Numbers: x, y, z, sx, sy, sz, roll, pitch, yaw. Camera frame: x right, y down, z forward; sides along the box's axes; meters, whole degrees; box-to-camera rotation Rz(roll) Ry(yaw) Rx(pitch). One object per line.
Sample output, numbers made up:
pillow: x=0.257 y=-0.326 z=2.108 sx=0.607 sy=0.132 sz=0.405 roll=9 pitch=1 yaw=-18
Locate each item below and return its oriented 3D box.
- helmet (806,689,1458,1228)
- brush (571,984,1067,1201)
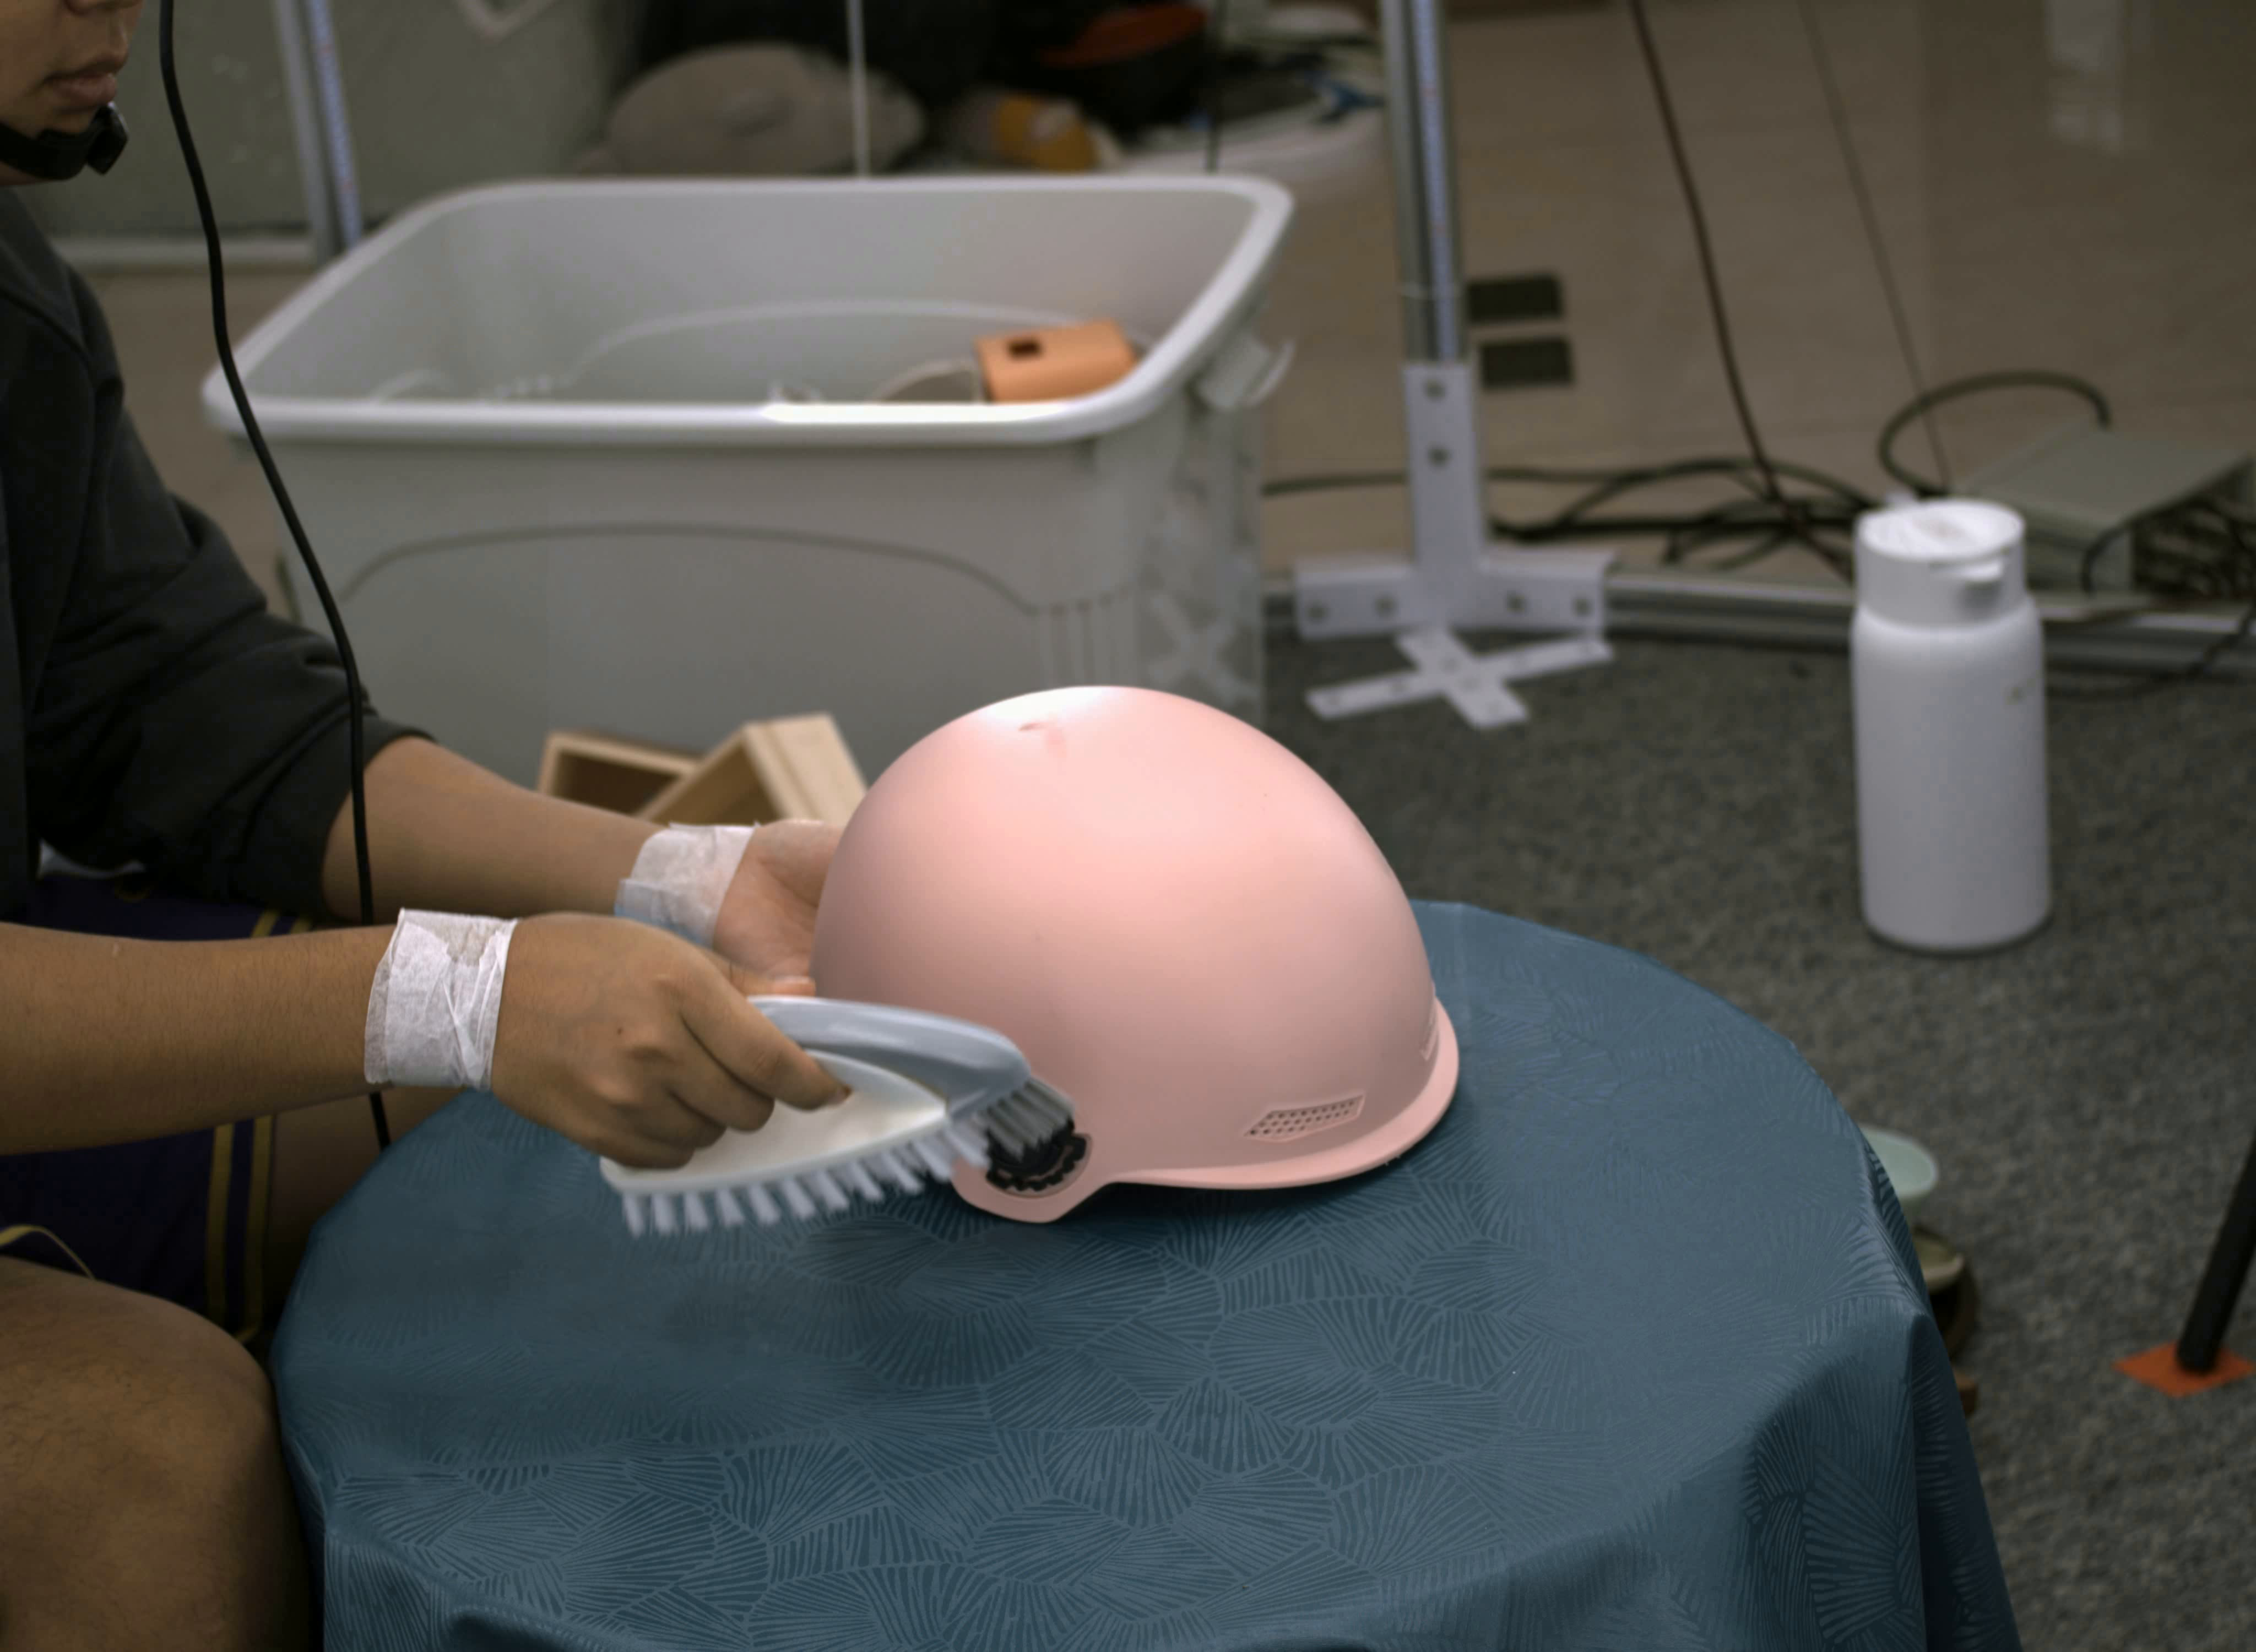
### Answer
helmet: x=-0.001 y=0.036 z=2.187 sx=0.264 sy=0.161 sz=0.231 roll=16 pitch=32 yaw=30
brush: x=-0.117 y=0.085 z=2.044 sx=0.175 sy=0.096 sz=0.060 roll=-5 pitch=57 yaw=17
